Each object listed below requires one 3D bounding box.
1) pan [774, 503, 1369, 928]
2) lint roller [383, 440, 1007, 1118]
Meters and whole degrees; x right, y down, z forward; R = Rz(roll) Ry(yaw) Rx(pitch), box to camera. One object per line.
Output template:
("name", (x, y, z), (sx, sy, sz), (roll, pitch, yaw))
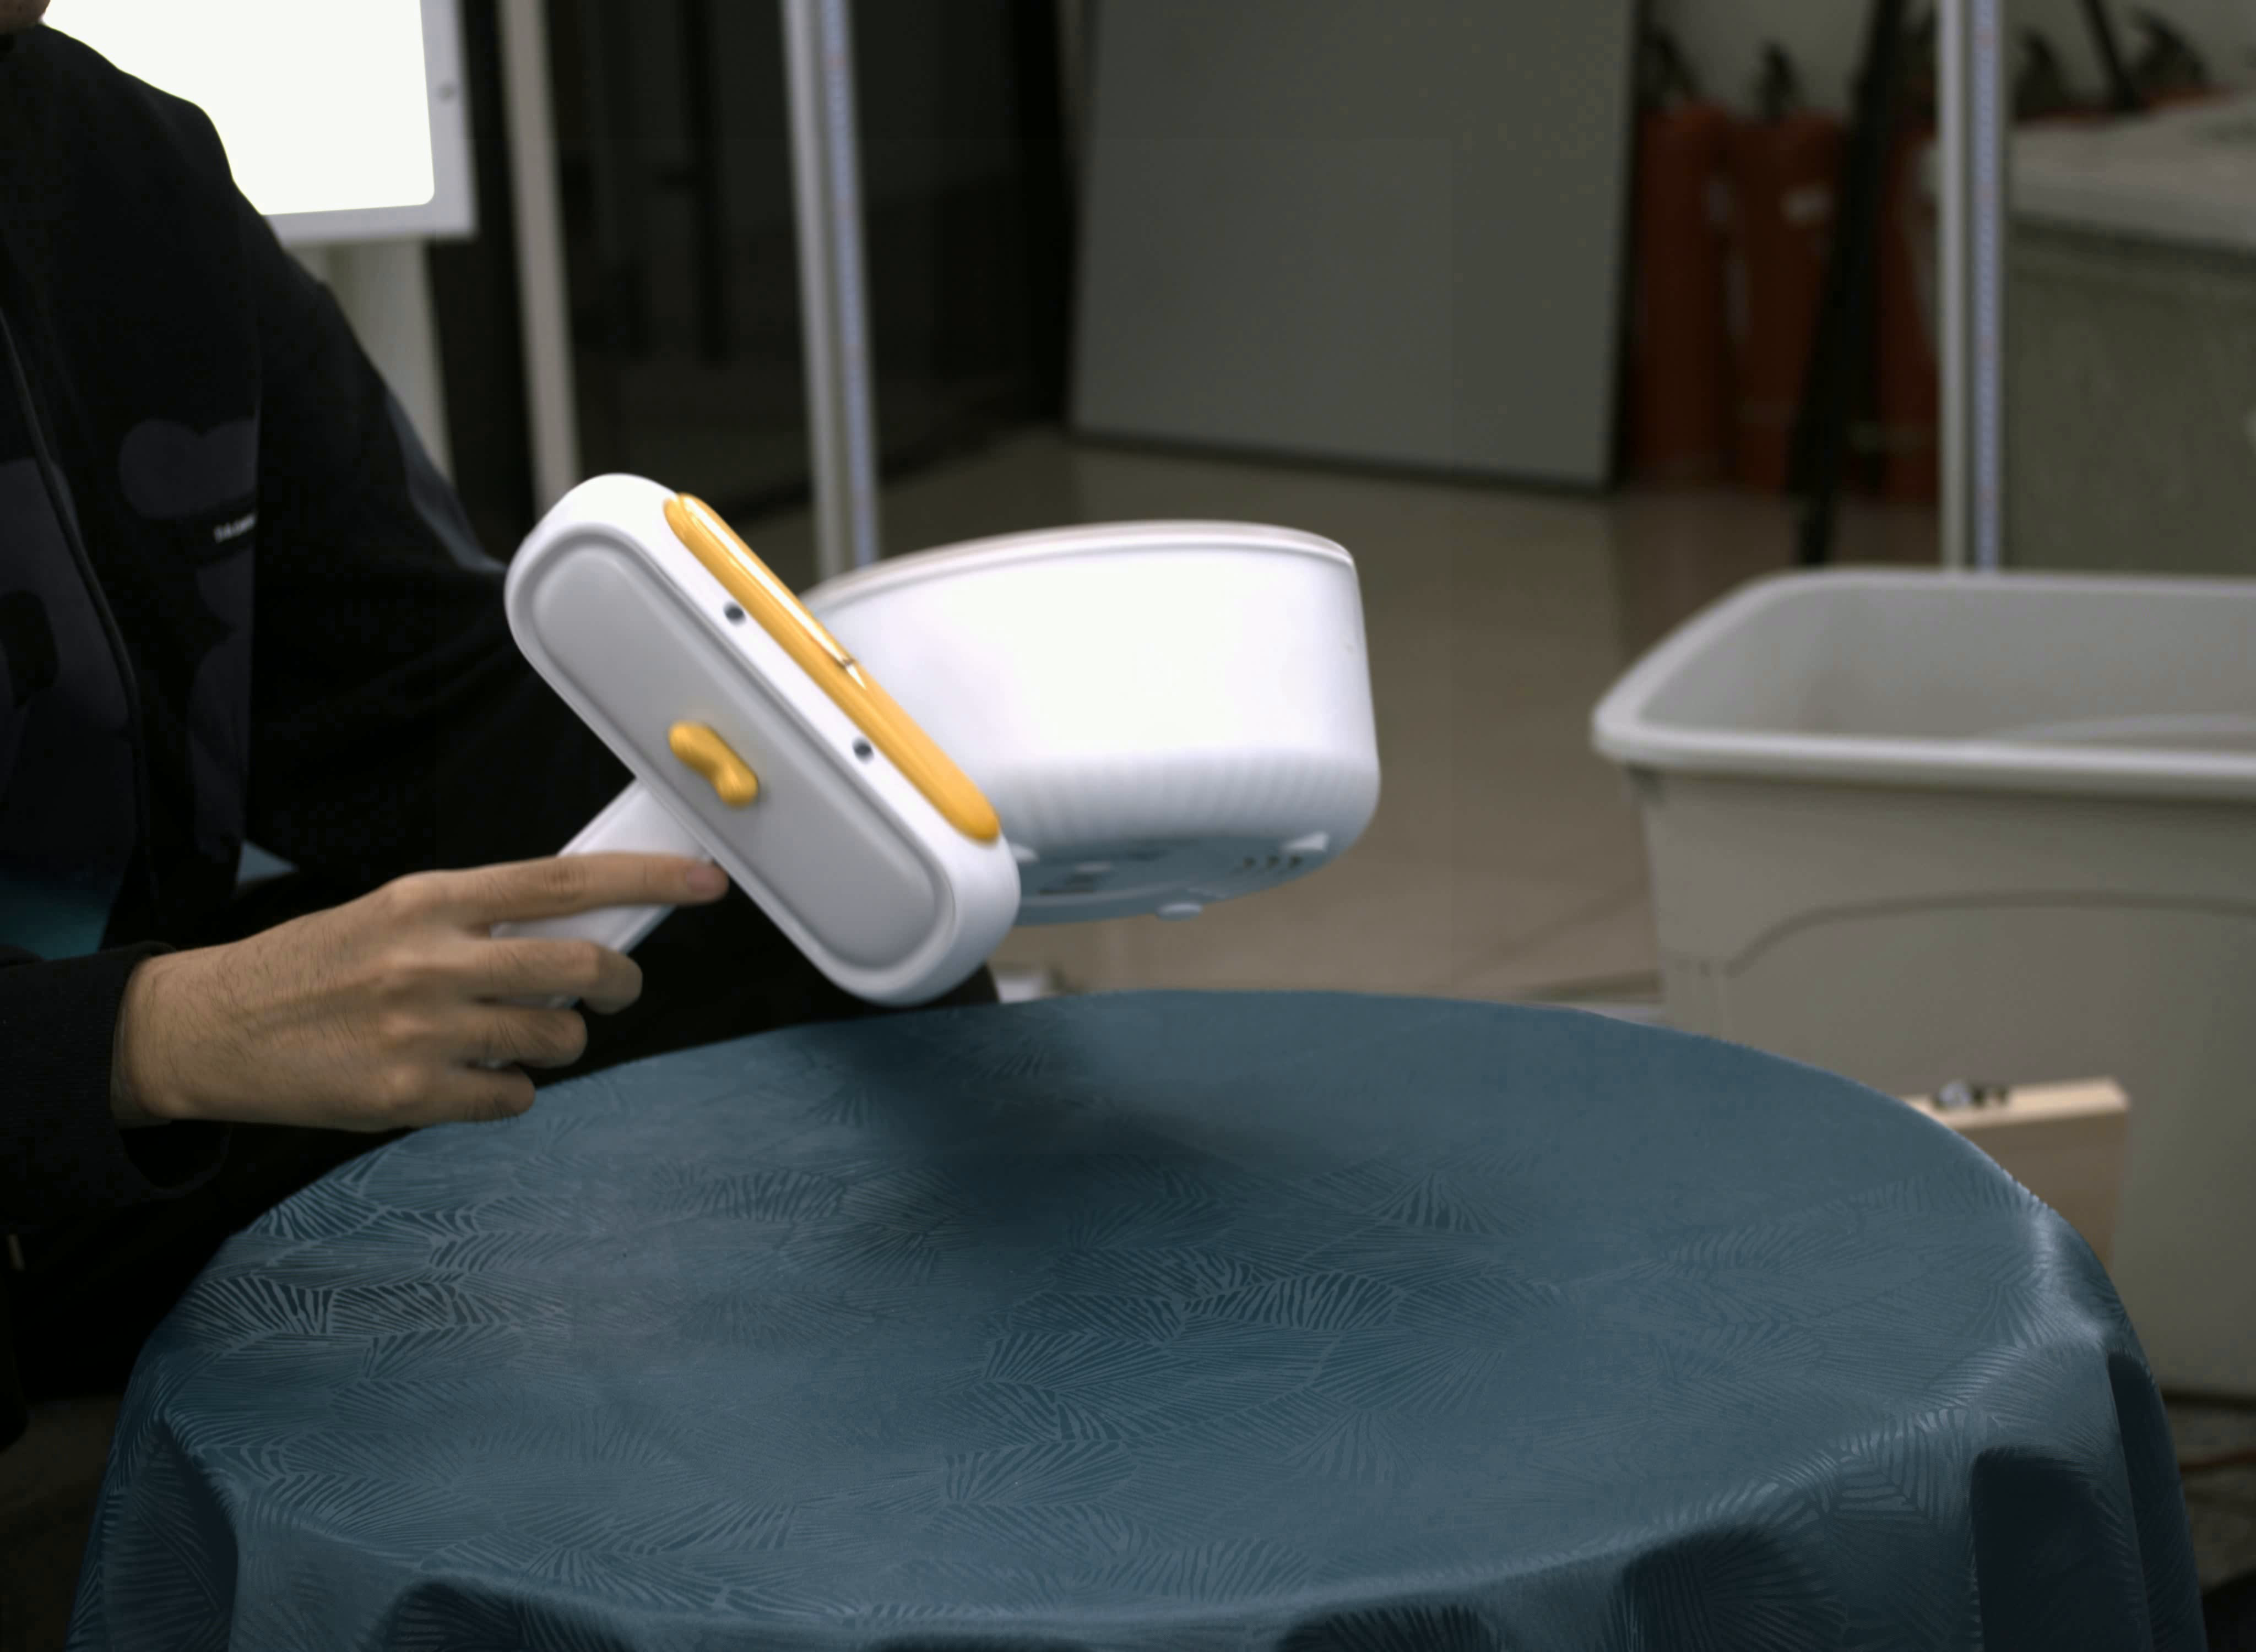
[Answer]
("pan", (-0.046, -0.011, 1.853), (0.197, 0.103, 0.358), (-2, -13, -22))
("lint roller", (-0.156, 0.009, 1.664), (0.192, 0.193, 0.074), (41, 15, 2))
